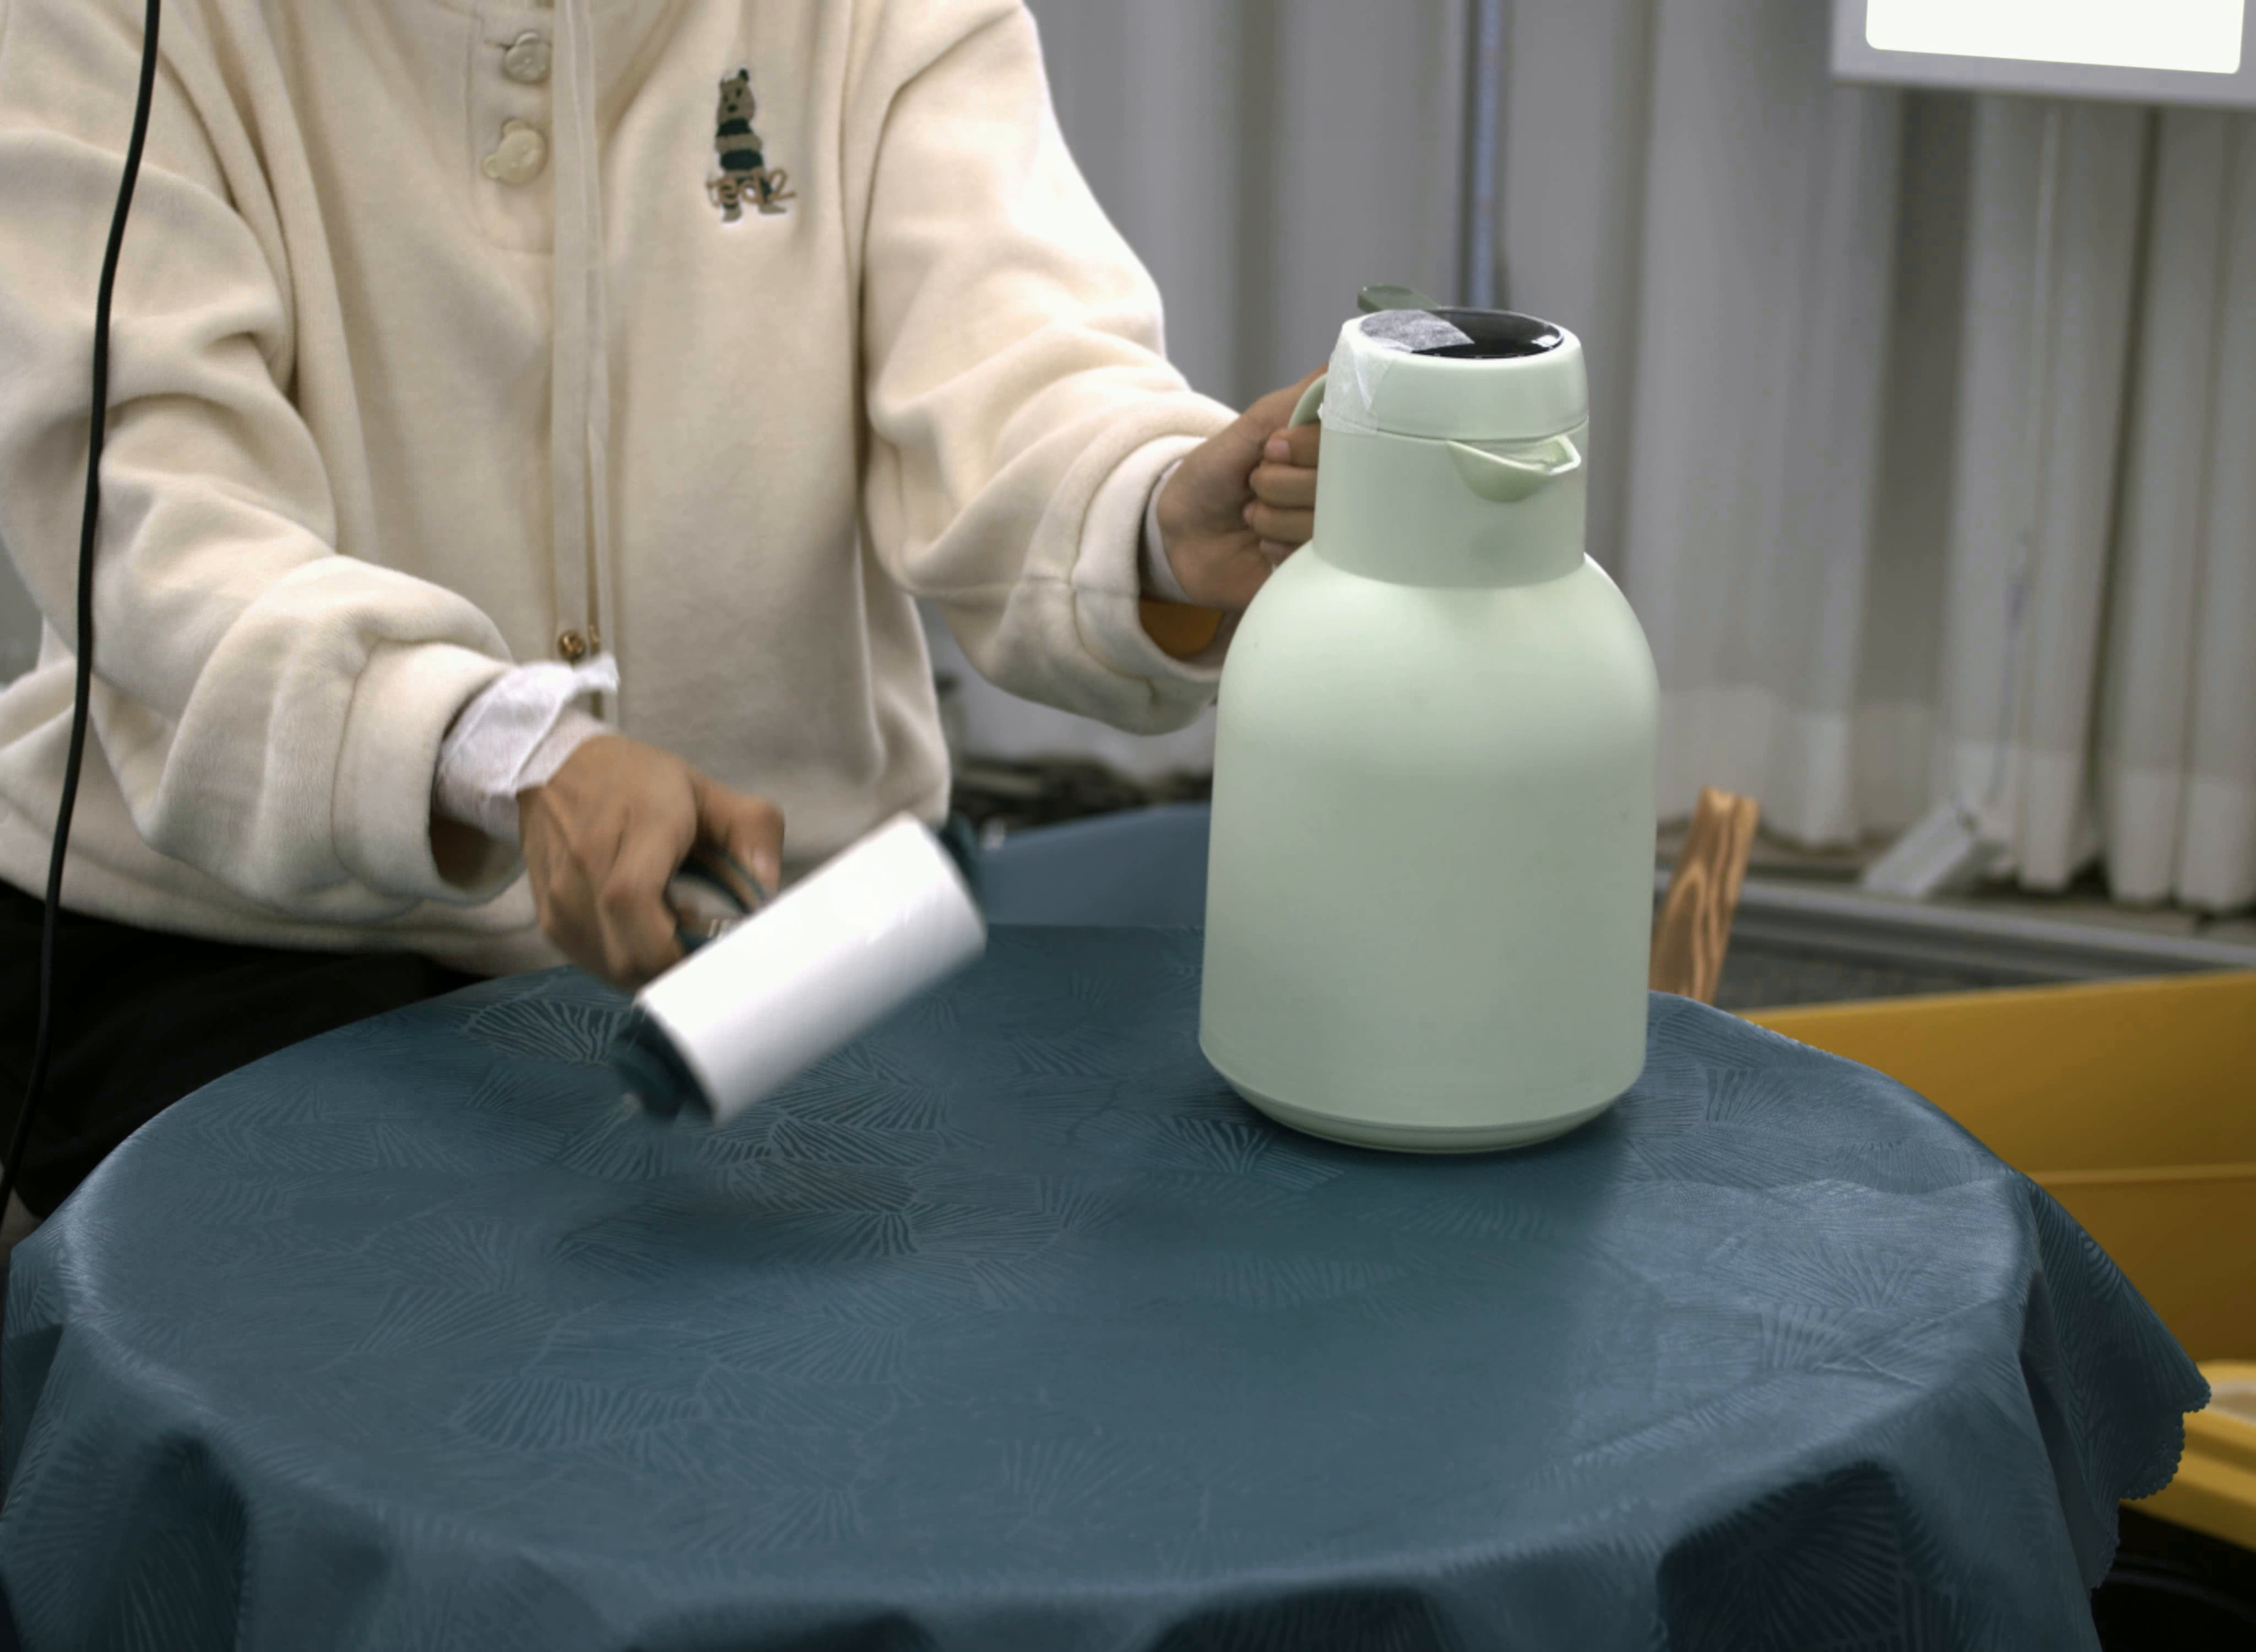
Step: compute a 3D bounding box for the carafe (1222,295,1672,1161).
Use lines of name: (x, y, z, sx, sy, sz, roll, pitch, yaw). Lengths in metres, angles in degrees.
carafe: (0.096, -0.036, 1.681, 0.144, 0.259, 0.185, -7, 17, -20)

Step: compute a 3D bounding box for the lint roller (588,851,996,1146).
lint roller: (-0.128, 0.031, 1.640, 0.134, 0.049, 0.178, -31, 30, -15)
